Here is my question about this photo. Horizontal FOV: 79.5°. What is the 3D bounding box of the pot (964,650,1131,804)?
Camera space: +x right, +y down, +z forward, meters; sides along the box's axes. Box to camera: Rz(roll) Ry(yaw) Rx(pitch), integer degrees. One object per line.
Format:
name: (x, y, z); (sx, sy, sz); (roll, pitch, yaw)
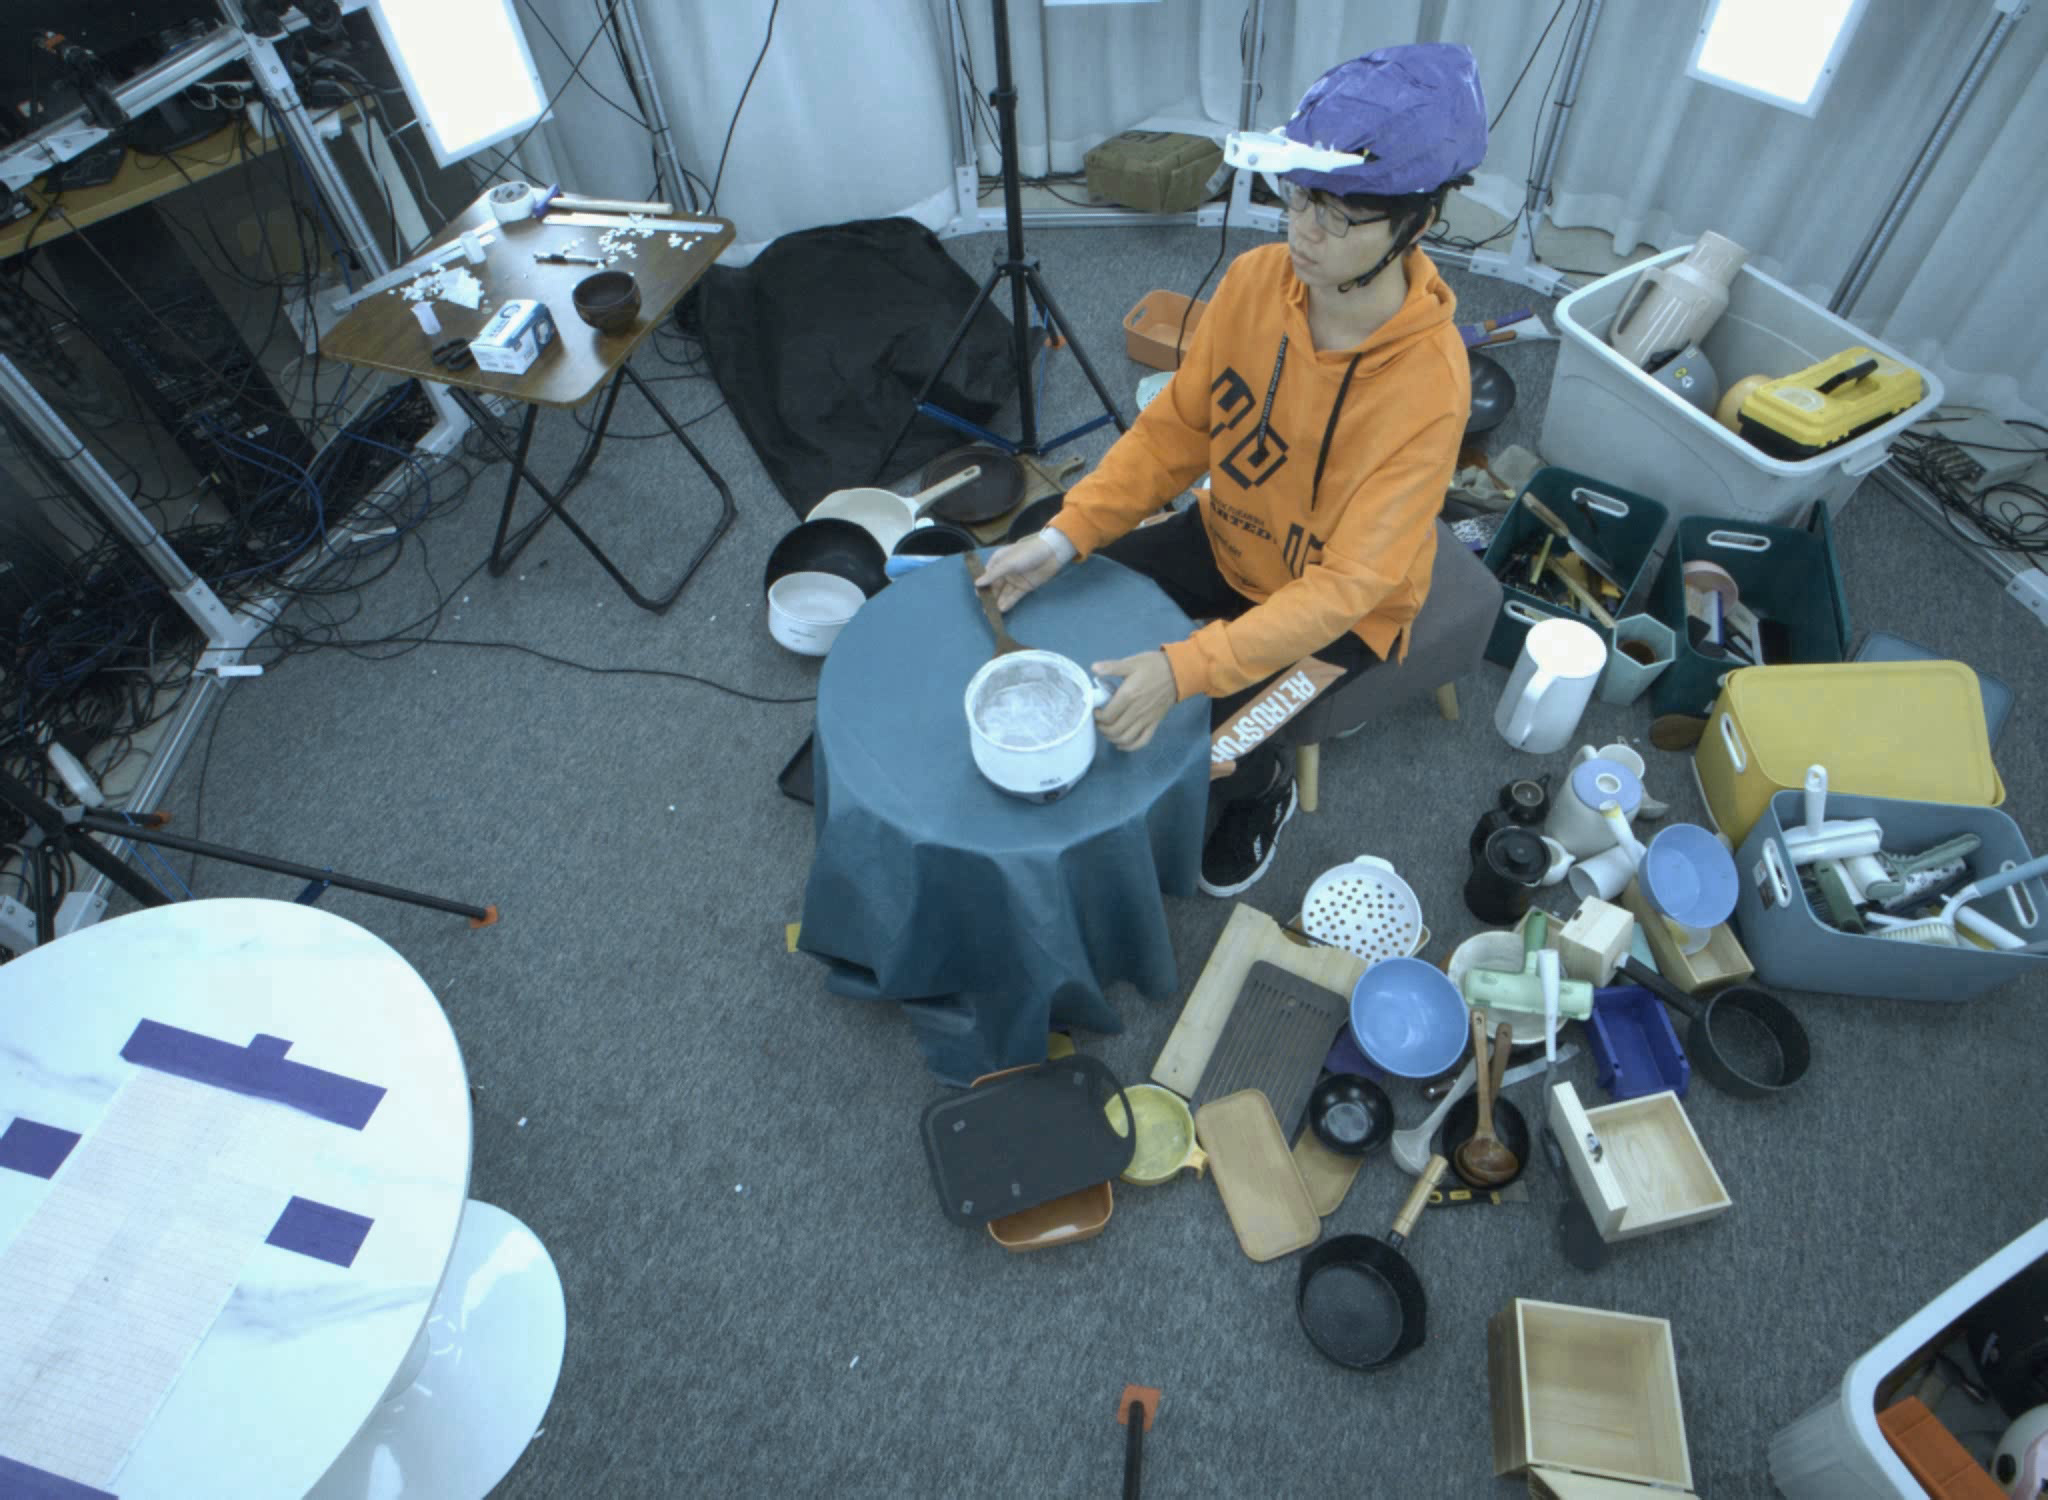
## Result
pot: (0.037, -0.039, 1.729); (0.235, 0.138, 0.176); (-16, 56, -8)

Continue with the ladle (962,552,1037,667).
ladle: (-0.050, -0.225, 1.897); (0.076, 0.072, 0.270); (-15, 61, -9)
